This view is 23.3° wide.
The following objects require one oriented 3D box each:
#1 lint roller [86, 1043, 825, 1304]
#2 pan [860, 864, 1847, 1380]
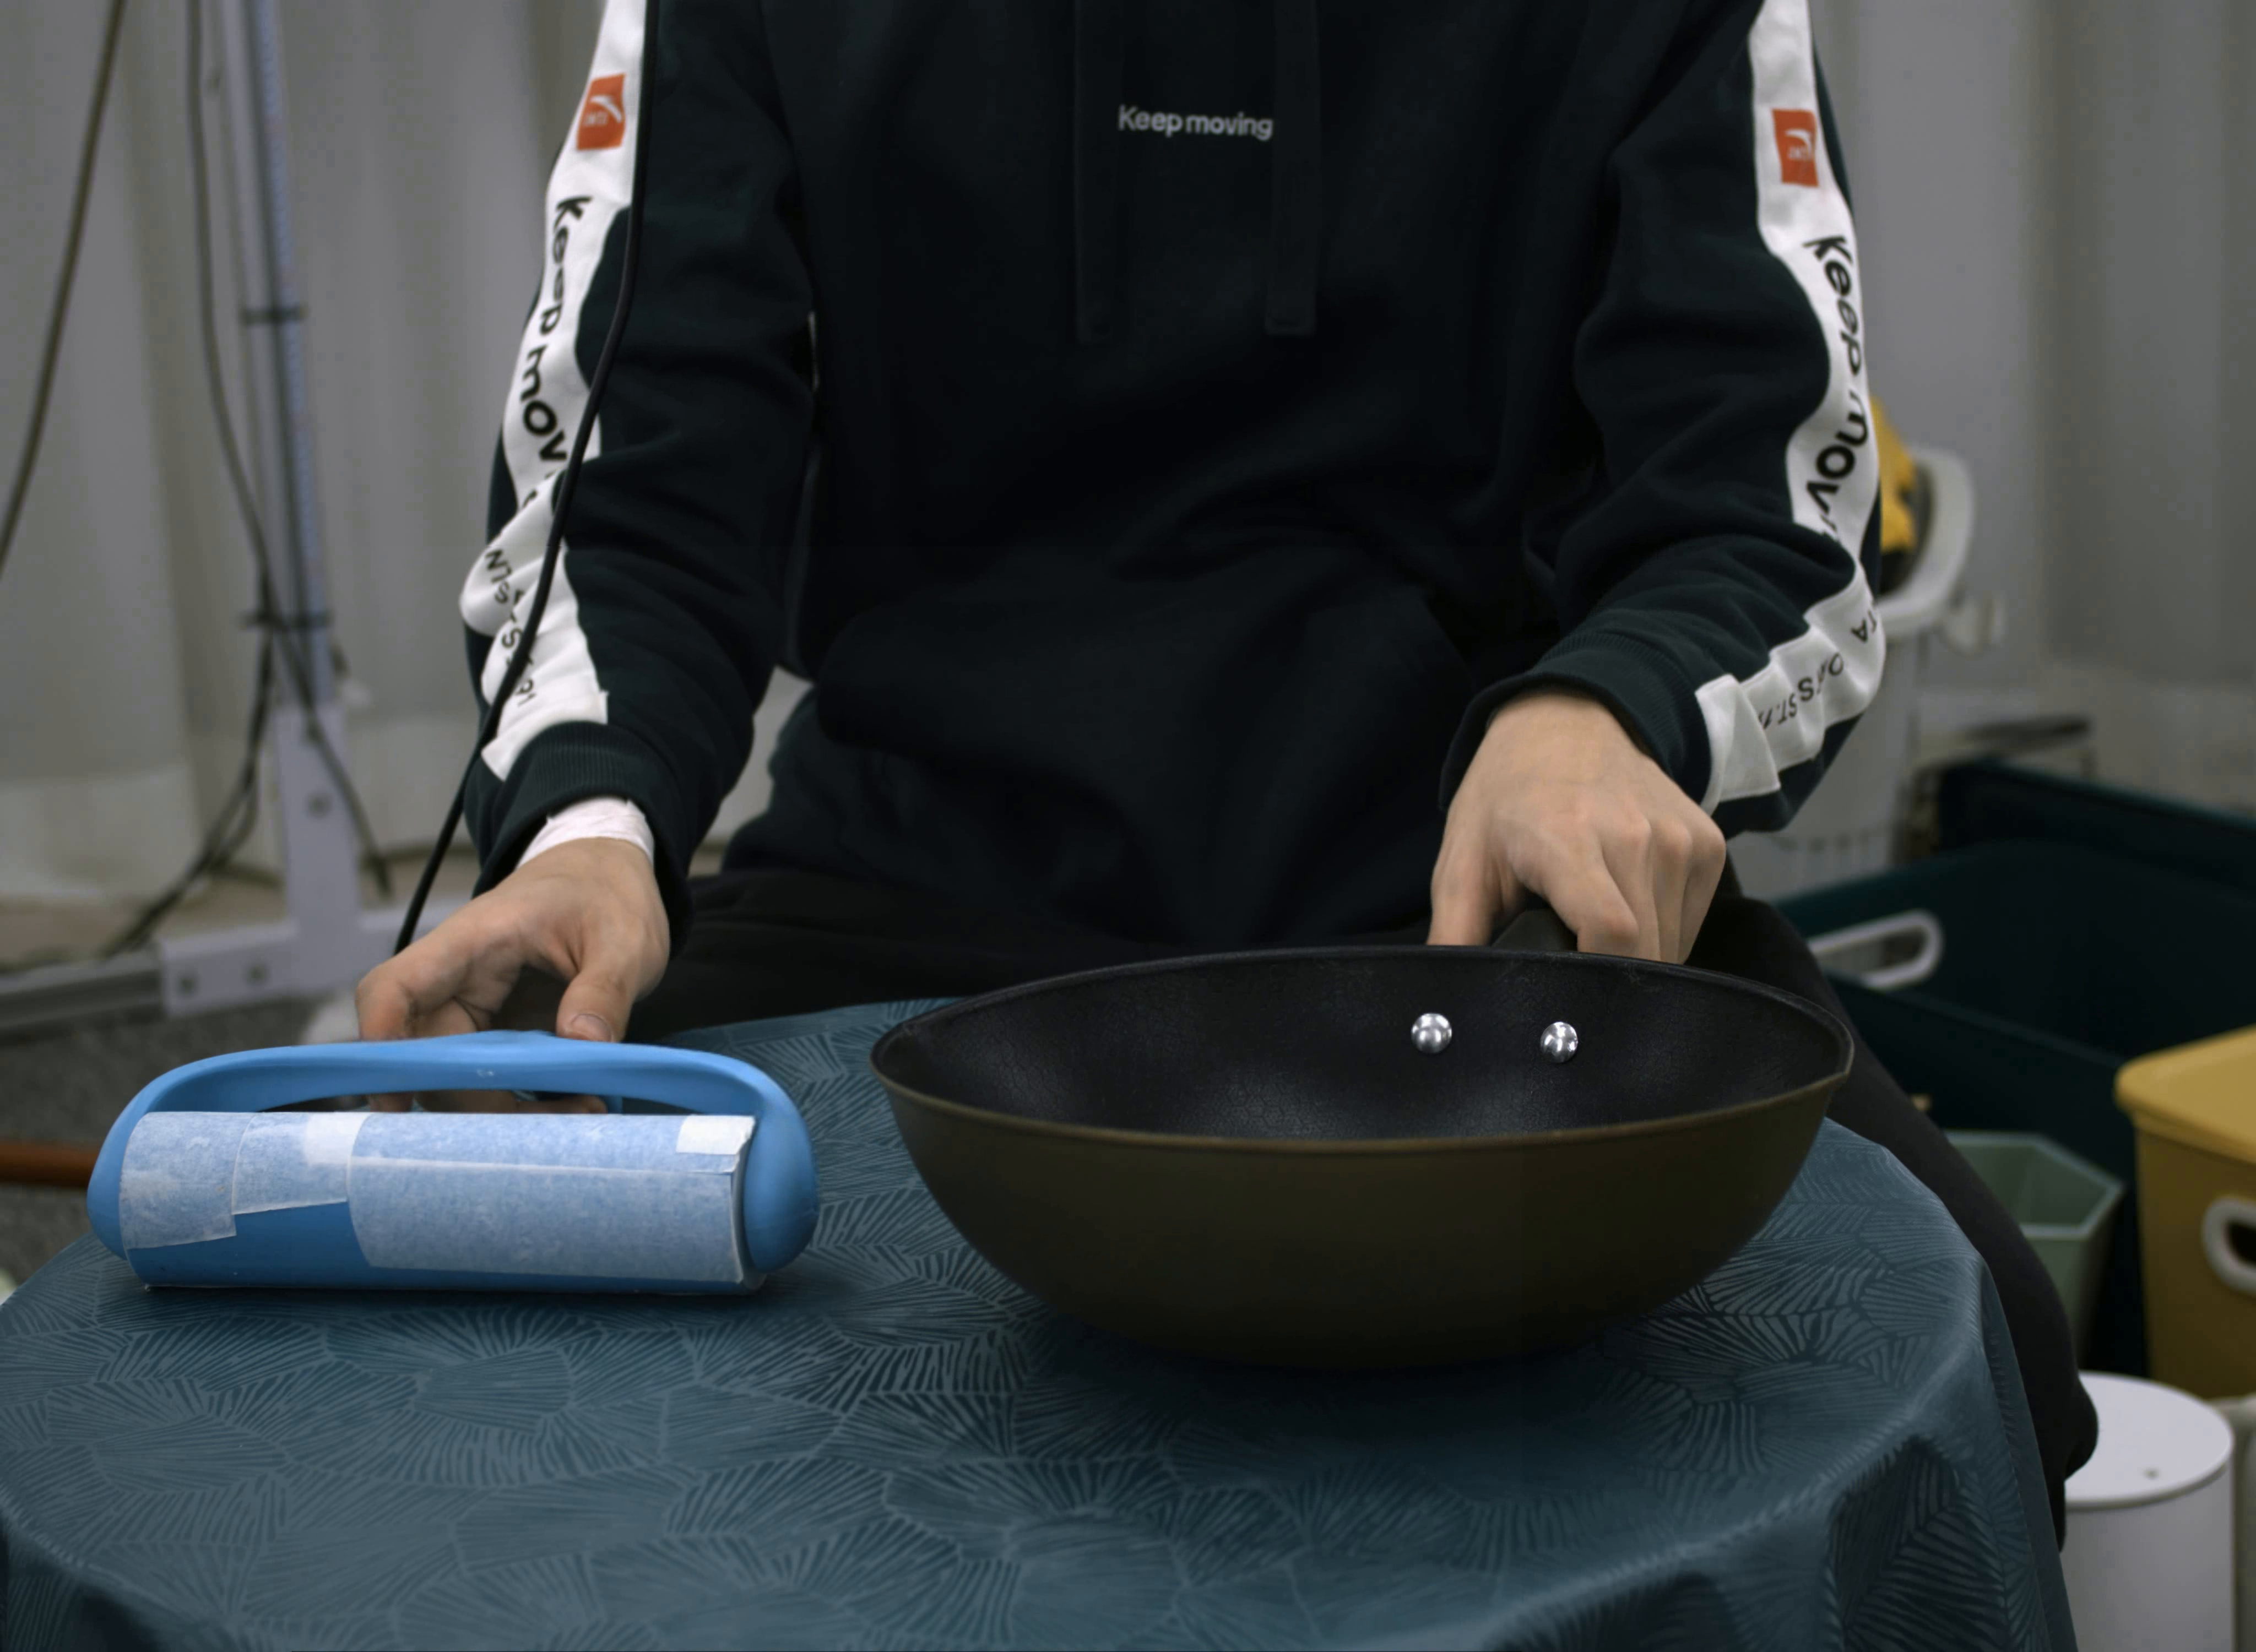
[{"bbox_3d":[-0.197,0.098,1.708,0.228,0.067,0.181,-3,16,8],"label":"lint roller"},{"bbox_3d":[0.099,0.086,1.657,0.288,0.087,0.463,3,10,22],"label":"pan"}]
